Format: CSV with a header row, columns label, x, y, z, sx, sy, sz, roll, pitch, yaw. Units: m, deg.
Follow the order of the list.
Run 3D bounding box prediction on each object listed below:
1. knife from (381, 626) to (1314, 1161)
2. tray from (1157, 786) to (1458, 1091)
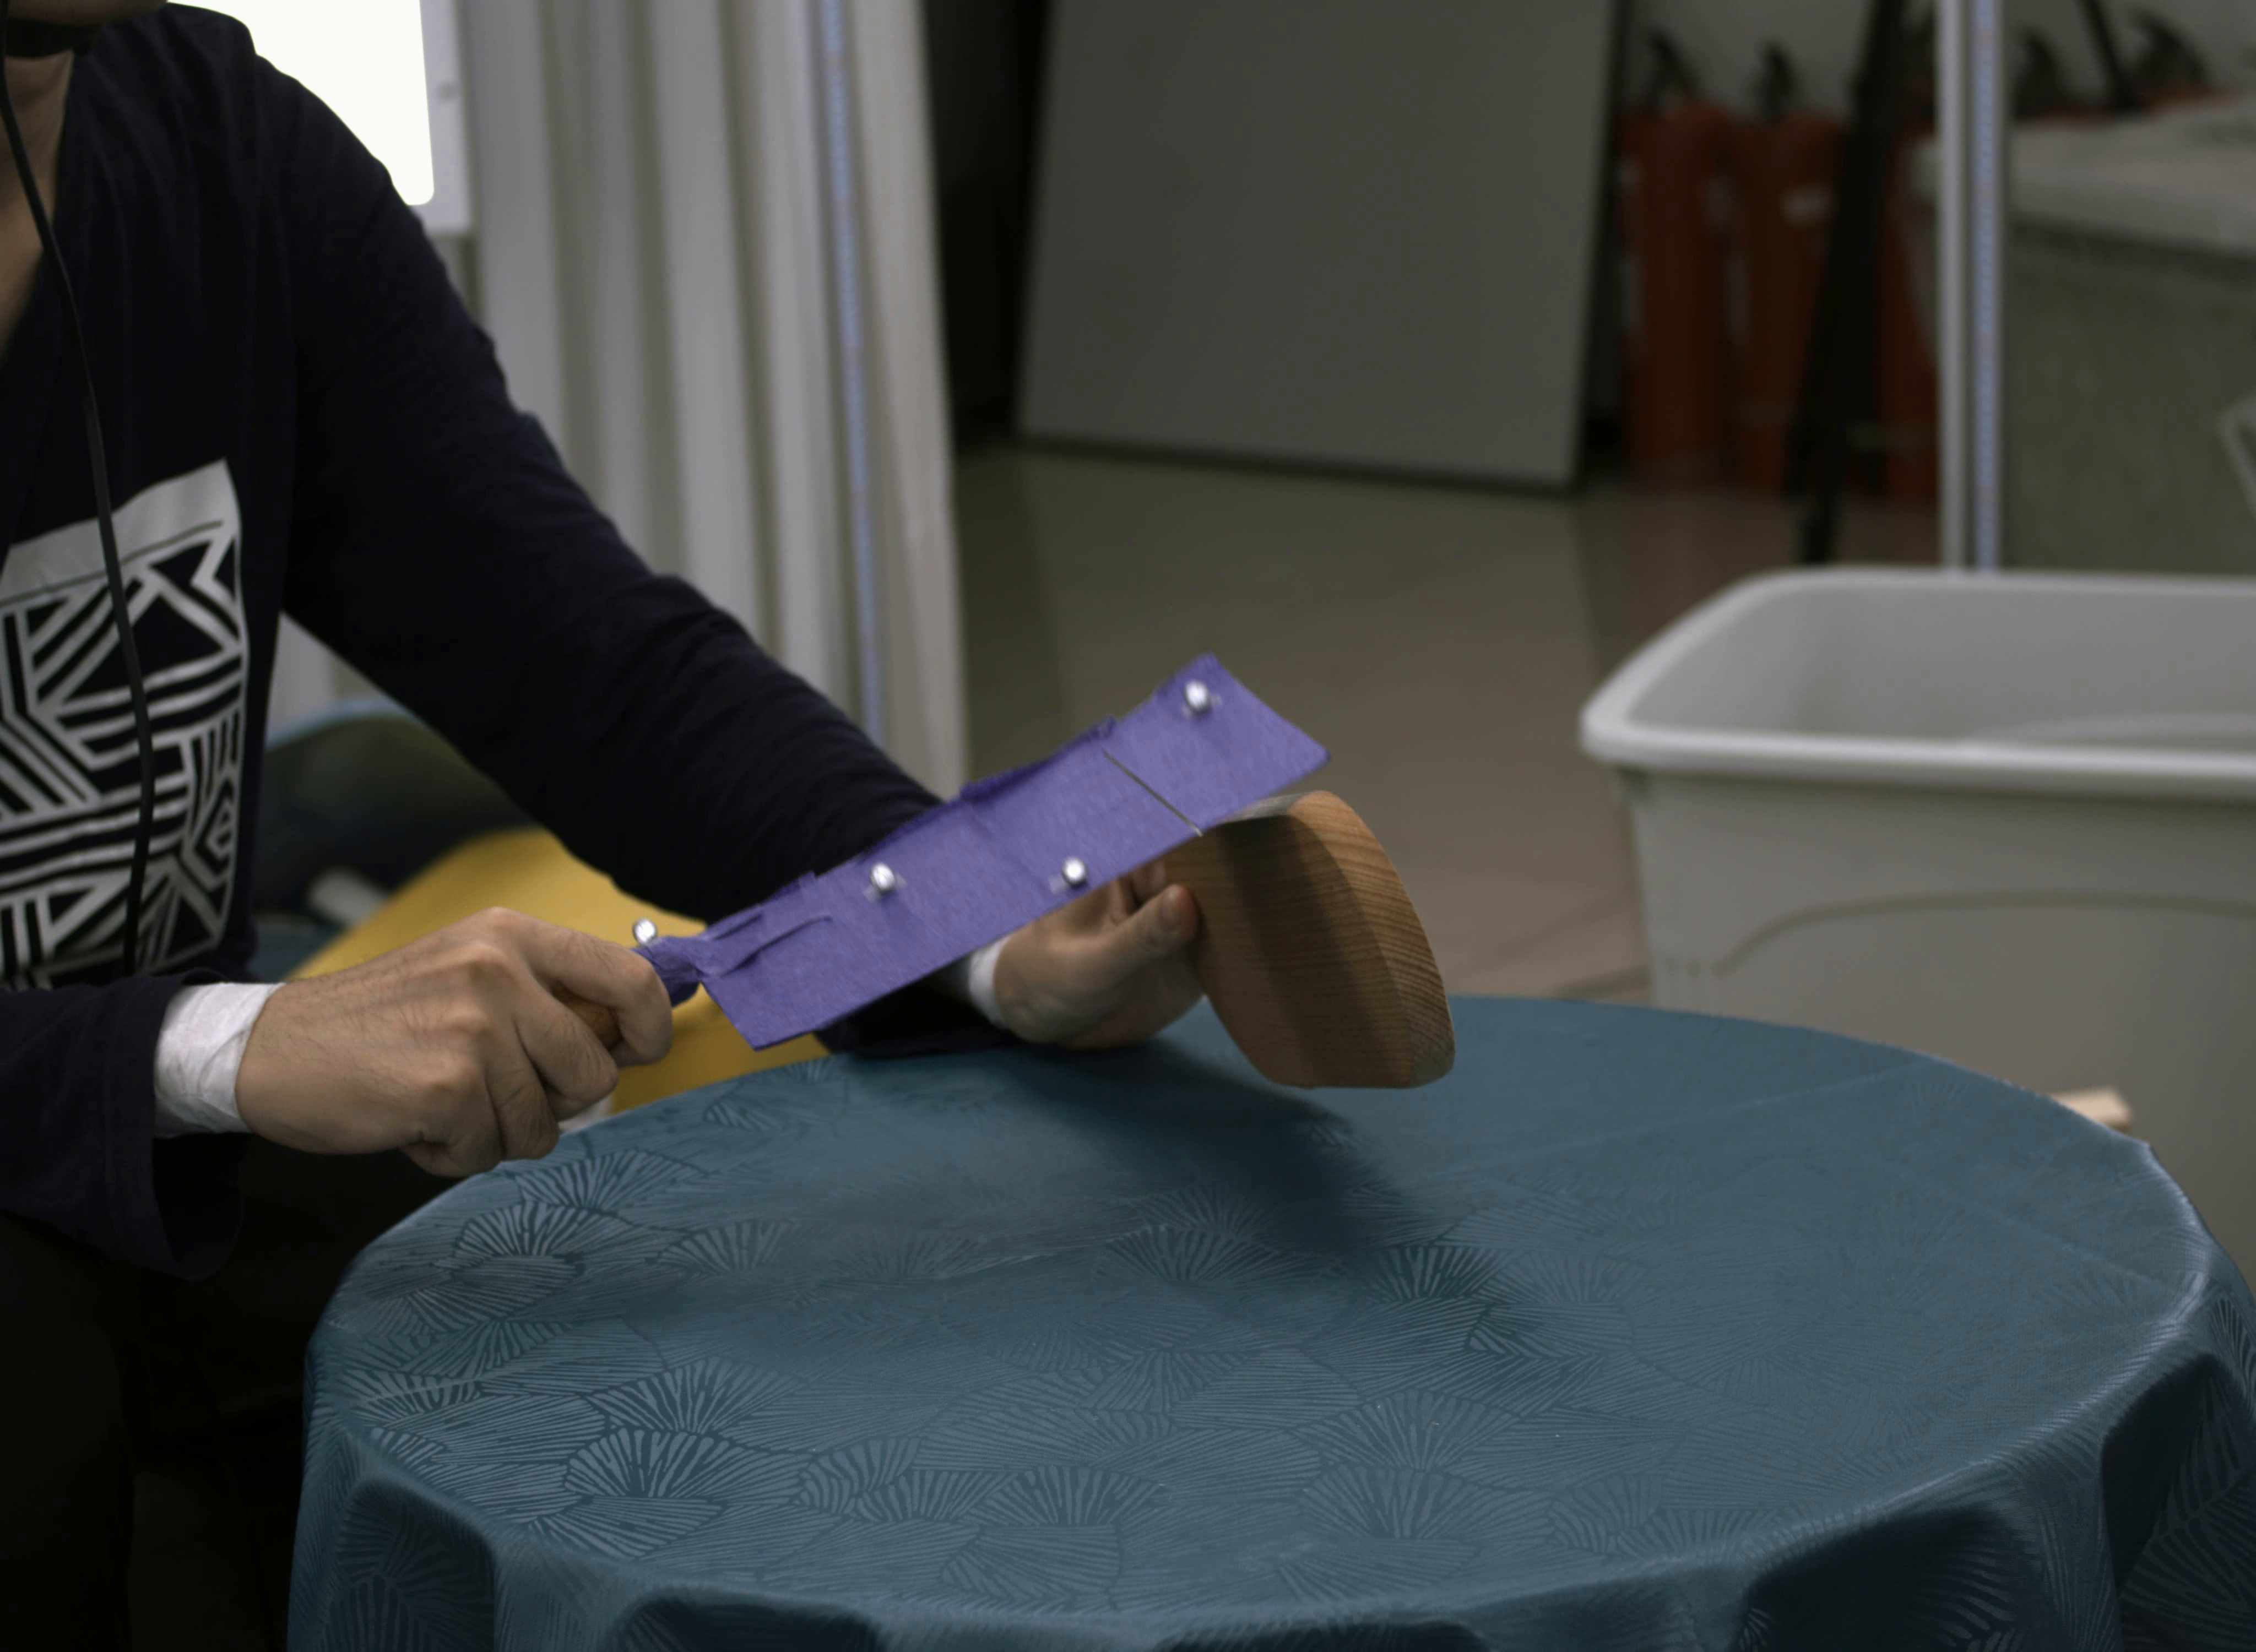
label,x,y,z,sx,sy,sz,roll,pitch,yaw
knife,-0.087,0.026,1.706,0.312,0.032,0.105,-31,27,-8
tray,0.055,0.040,1.764,0.020,0.102,0.233,-23,3,-16
